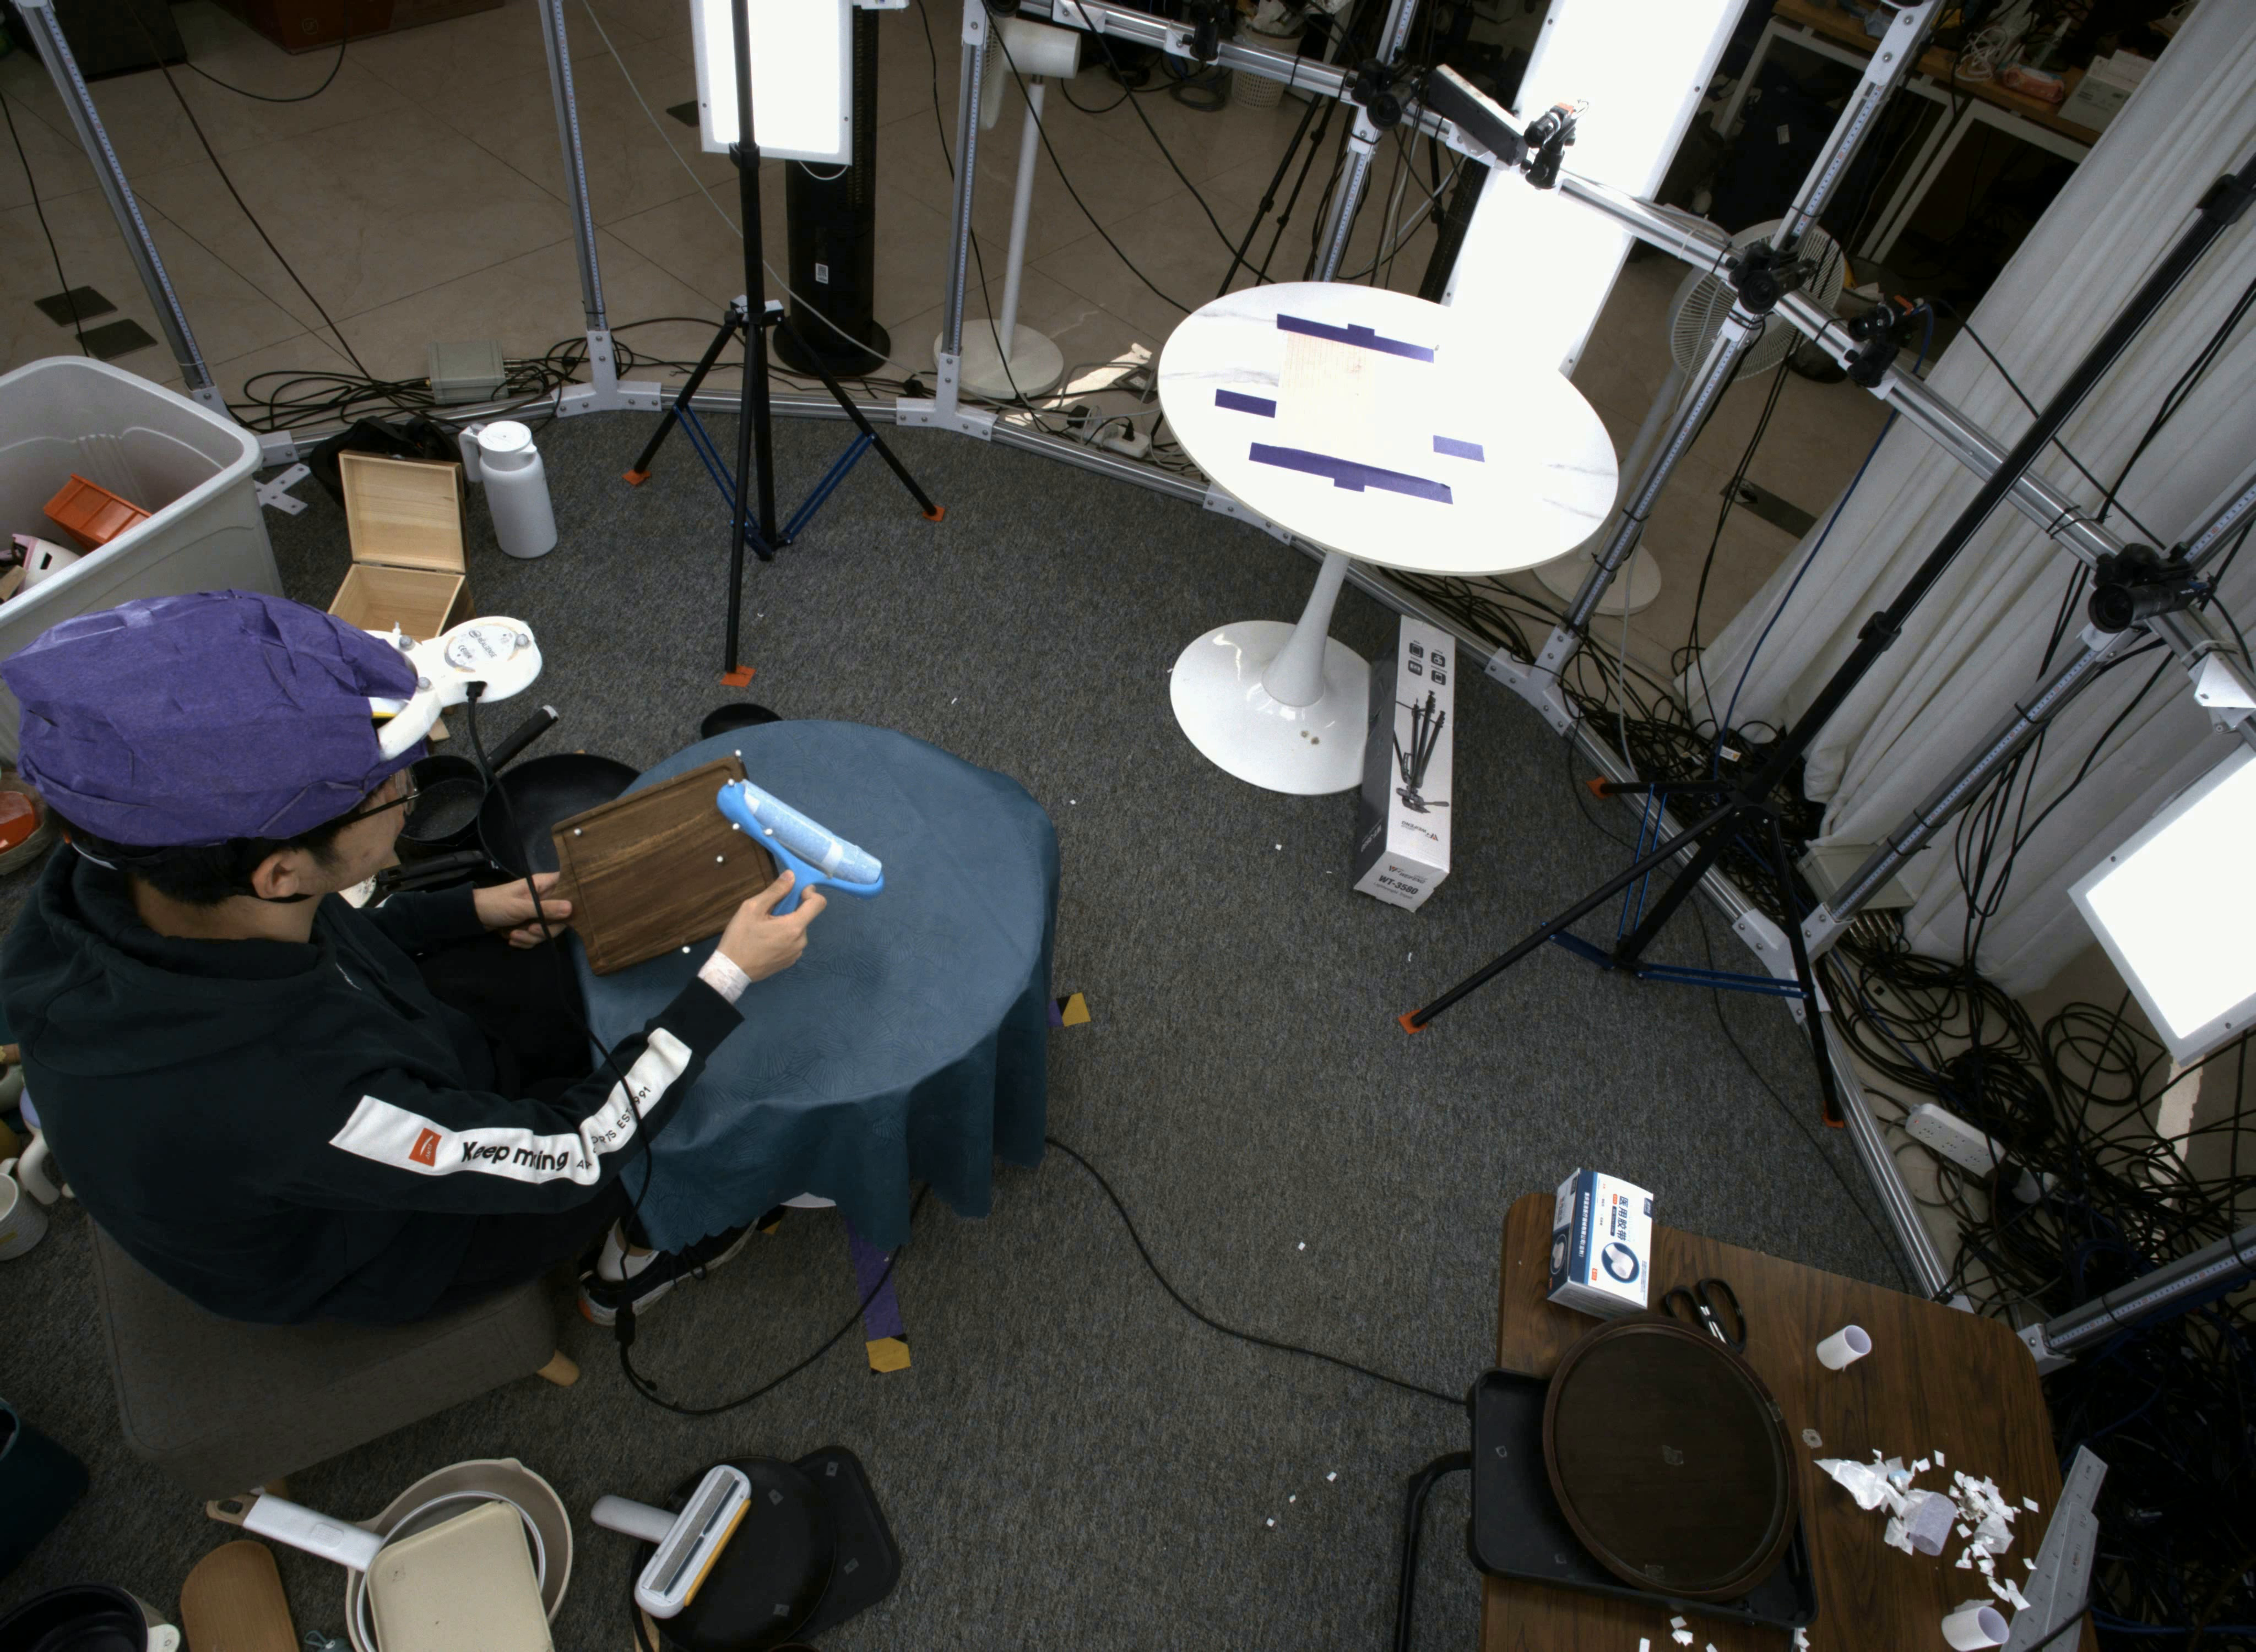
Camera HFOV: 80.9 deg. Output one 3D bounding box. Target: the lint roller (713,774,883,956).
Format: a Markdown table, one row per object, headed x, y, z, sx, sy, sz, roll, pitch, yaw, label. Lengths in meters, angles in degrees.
| x | y | z | sx | sy | sz | roll | pitch | yaw | label |
| --- | --- | --- | --- | --- | --- | --- | --- | --- | --- |
| -0.388 | 0.060 | 1.484 | 0.236 | 0.066 | 0.178 | 34 | 48 | -37 | lint roller |

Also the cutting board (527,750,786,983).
| x | y | z | sx | sy | sz | roll | pitch | yaw | label |
| --- | --- | --- | --- | --- | --- | --- | --- | --- | --- |
| -0.589 | 0.064 | 1.523 | 0.348 | 0.023 | 0.201 | -22 | 84 | 3 | cutting board |
